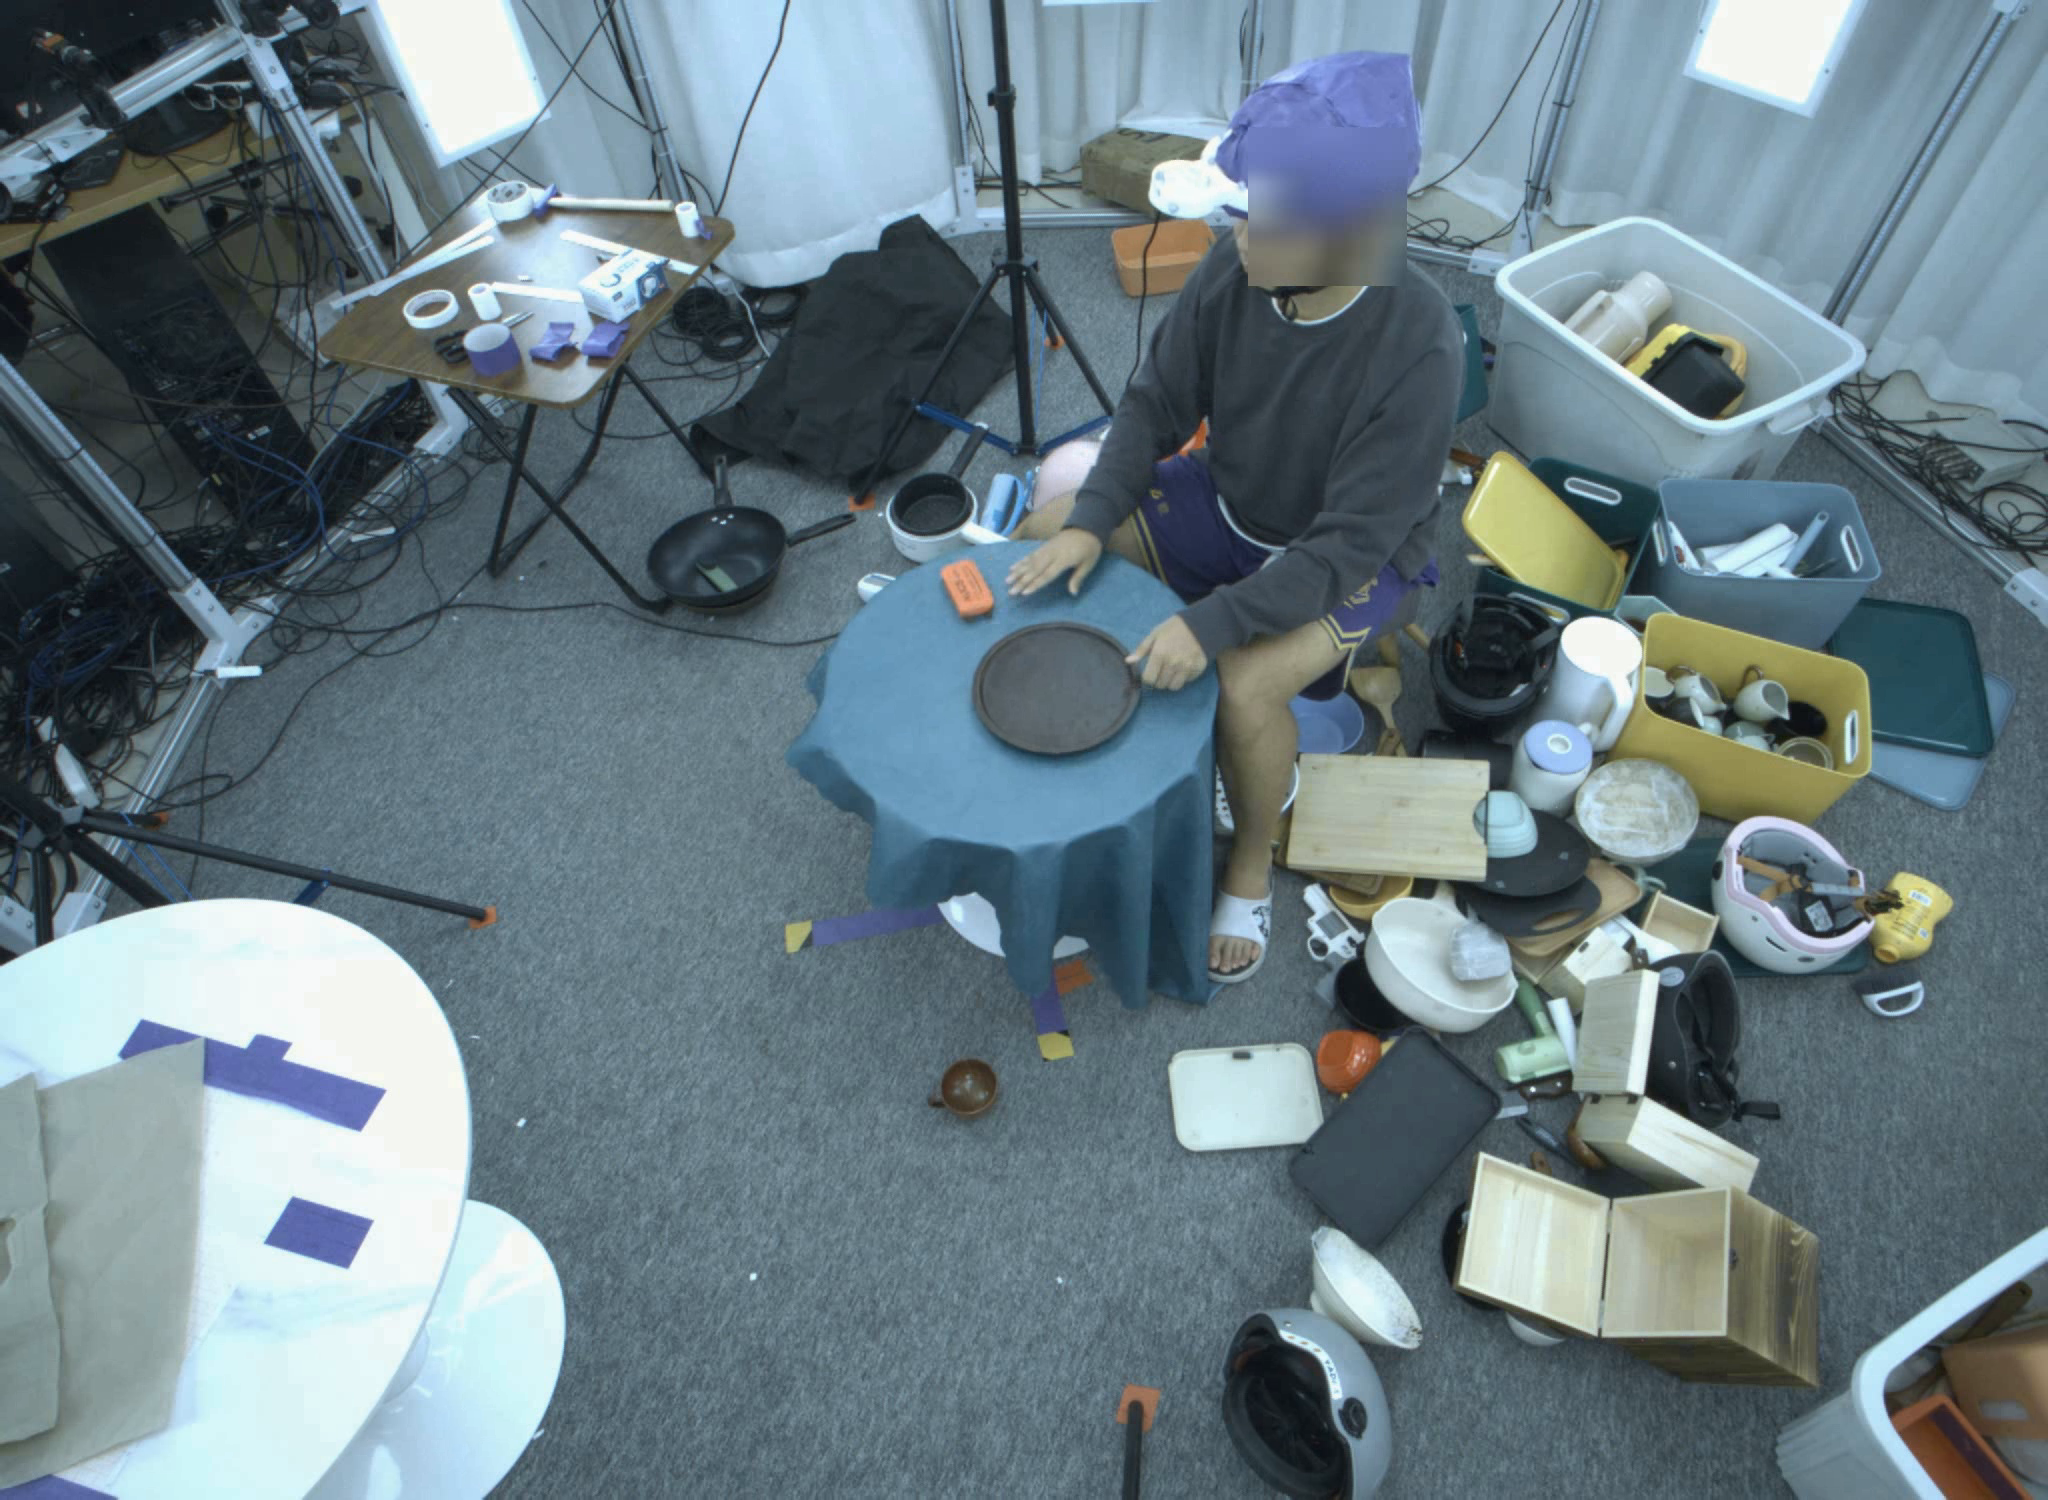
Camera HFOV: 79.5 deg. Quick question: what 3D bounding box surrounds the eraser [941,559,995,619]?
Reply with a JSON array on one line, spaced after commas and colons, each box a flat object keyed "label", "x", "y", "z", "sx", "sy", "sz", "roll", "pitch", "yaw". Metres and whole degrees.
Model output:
[{"label": "eraser", "x": -0.091, "y": -0.258, "z": 1.958, "sx": 0.059, "sy": 0.023, "sz": 0.106, "roll": -20, "pitch": 55, "yaw": -12}]

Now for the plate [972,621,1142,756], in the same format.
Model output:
[{"label": "plate", "x": 0.049, "y": -0.093, "z": 1.841, "sx": 0.254, "sy": 0.029, "sz": 0.252, "roll": -1, "pitch": 54, "yaw": 3}]
